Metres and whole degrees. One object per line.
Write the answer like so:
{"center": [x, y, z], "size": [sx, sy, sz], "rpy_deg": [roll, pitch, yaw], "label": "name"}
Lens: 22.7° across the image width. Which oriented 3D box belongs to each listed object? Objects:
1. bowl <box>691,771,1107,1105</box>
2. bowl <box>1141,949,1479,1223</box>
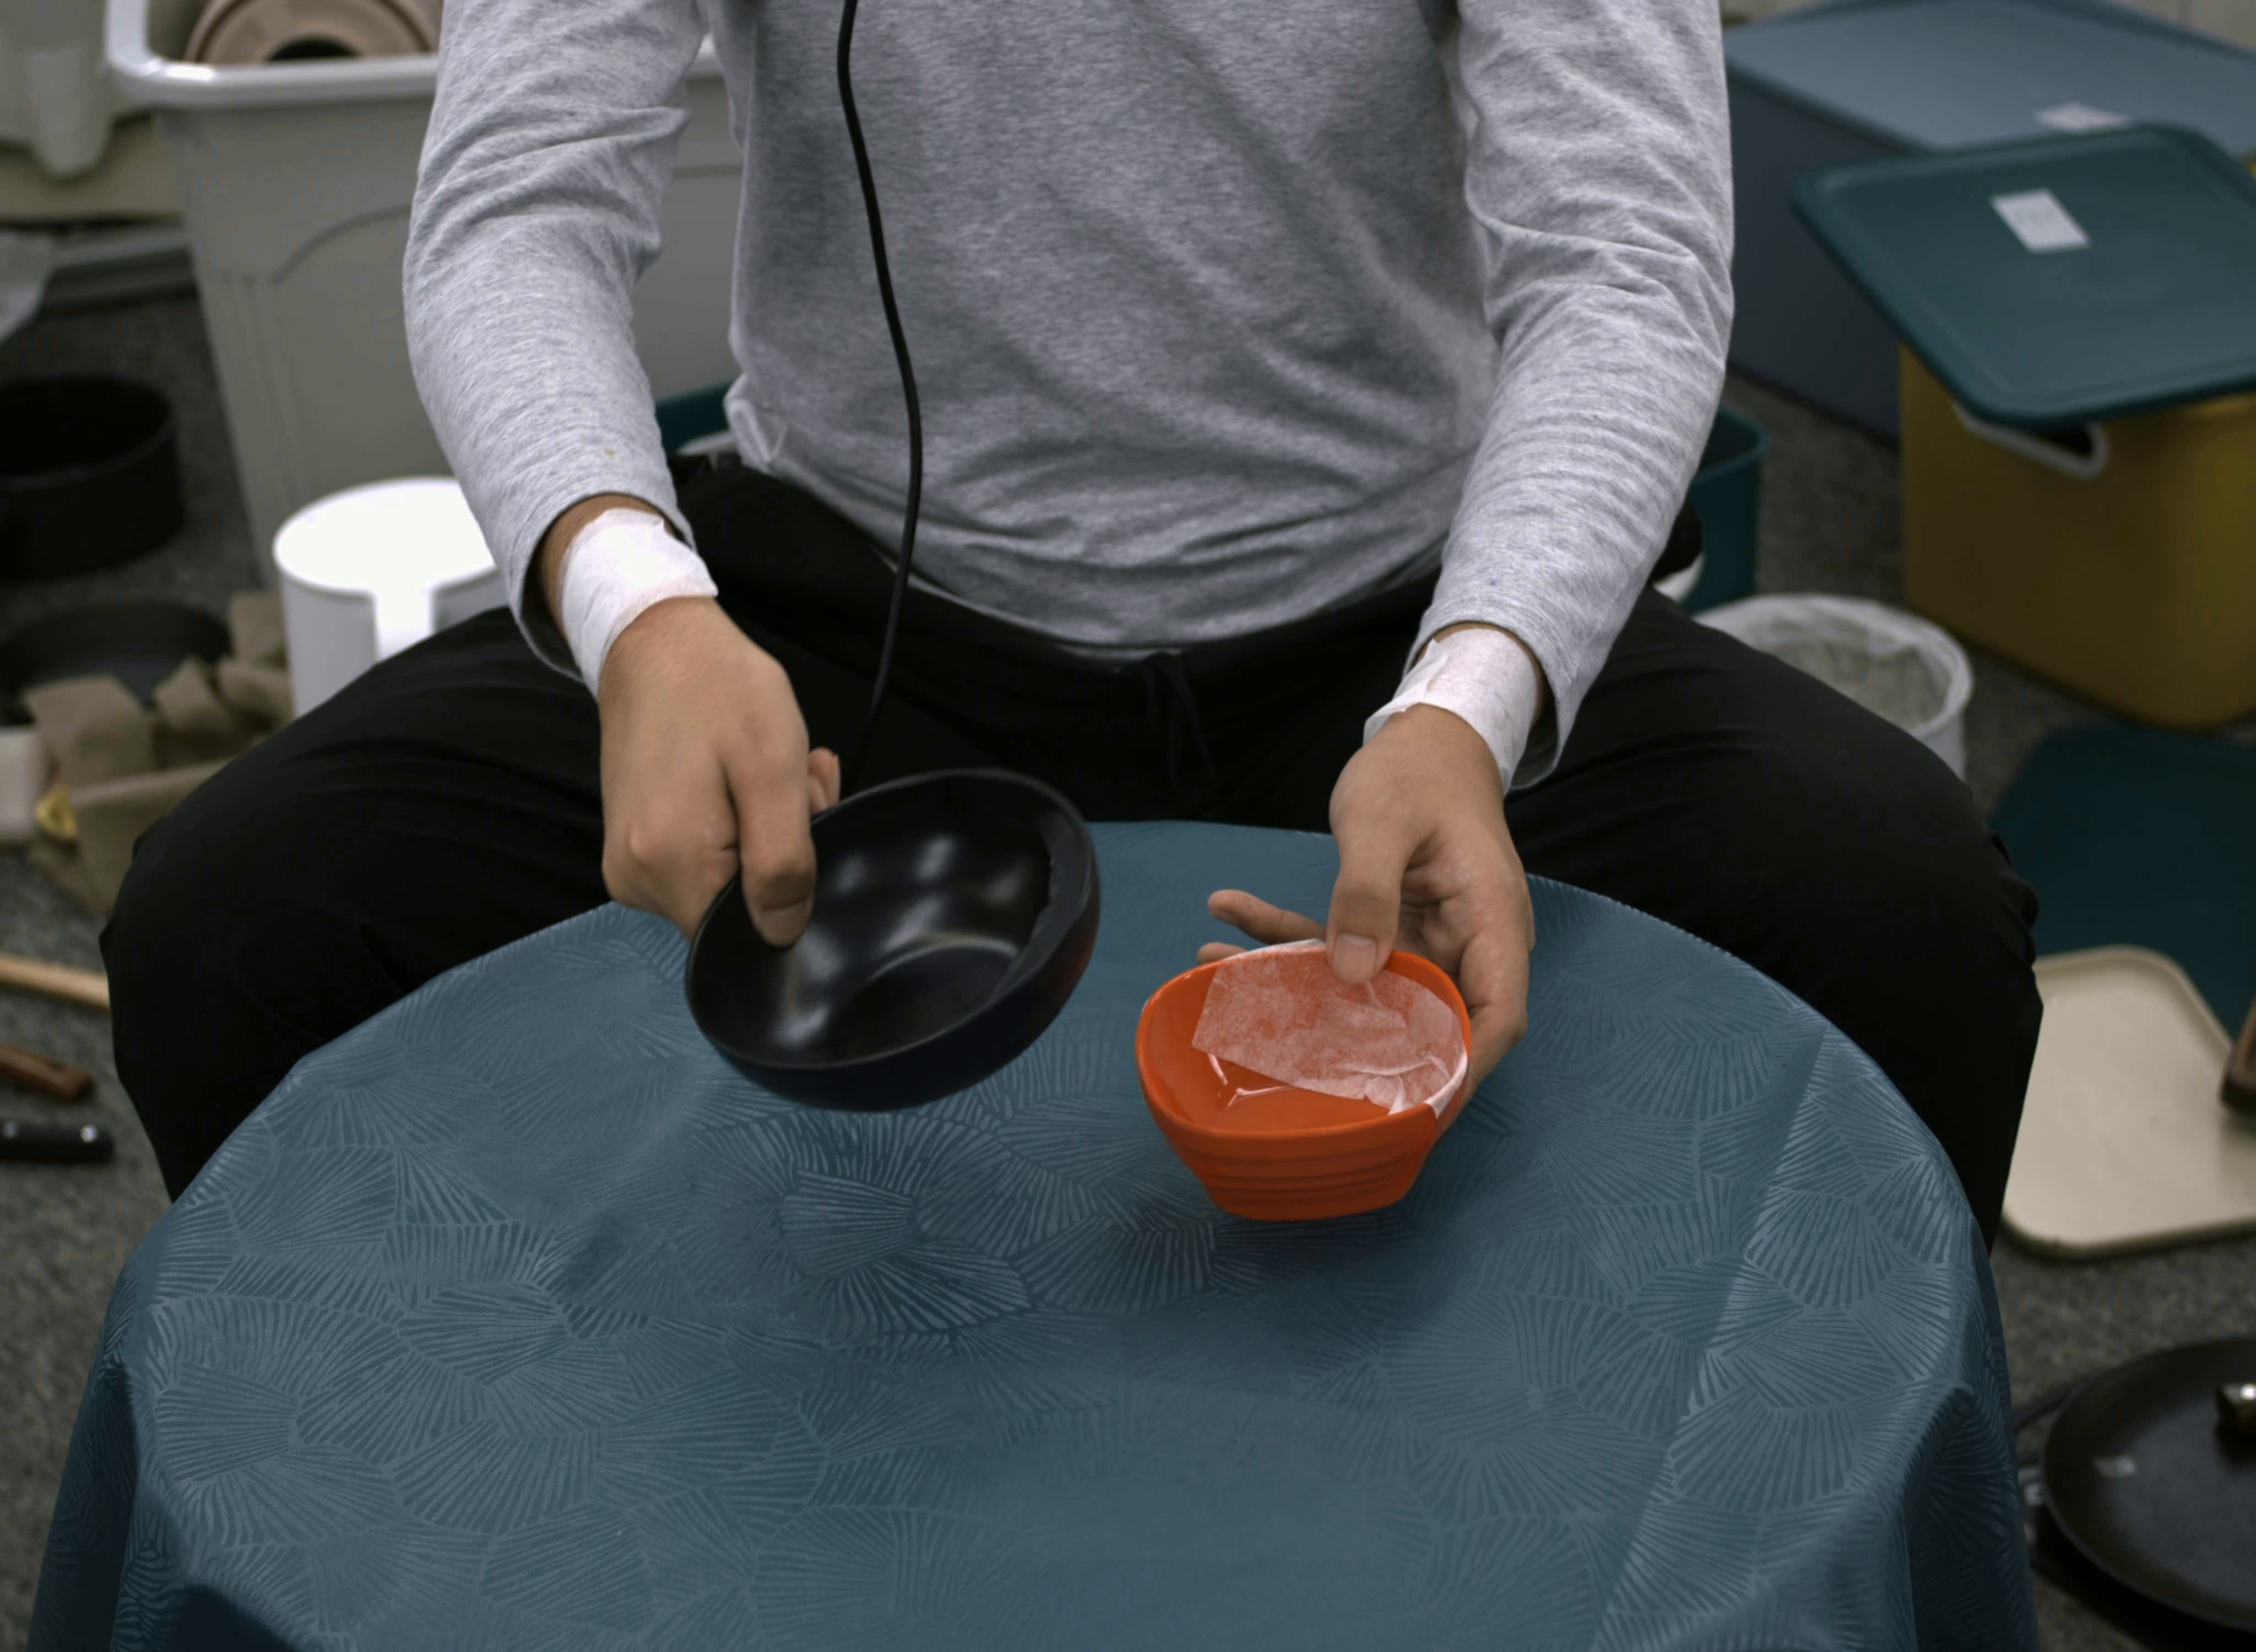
{"center": [-0.065, 0.044, 1.777], "size": [0.139, 0.049, 0.142], "rpy_deg": [-17, 31, 11], "label": "bowl"}
{"center": [0.061, 0.089, 1.832], "size": [0.118, 0.051, 0.121], "rpy_deg": [-4, 28, 3], "label": "bowl"}
